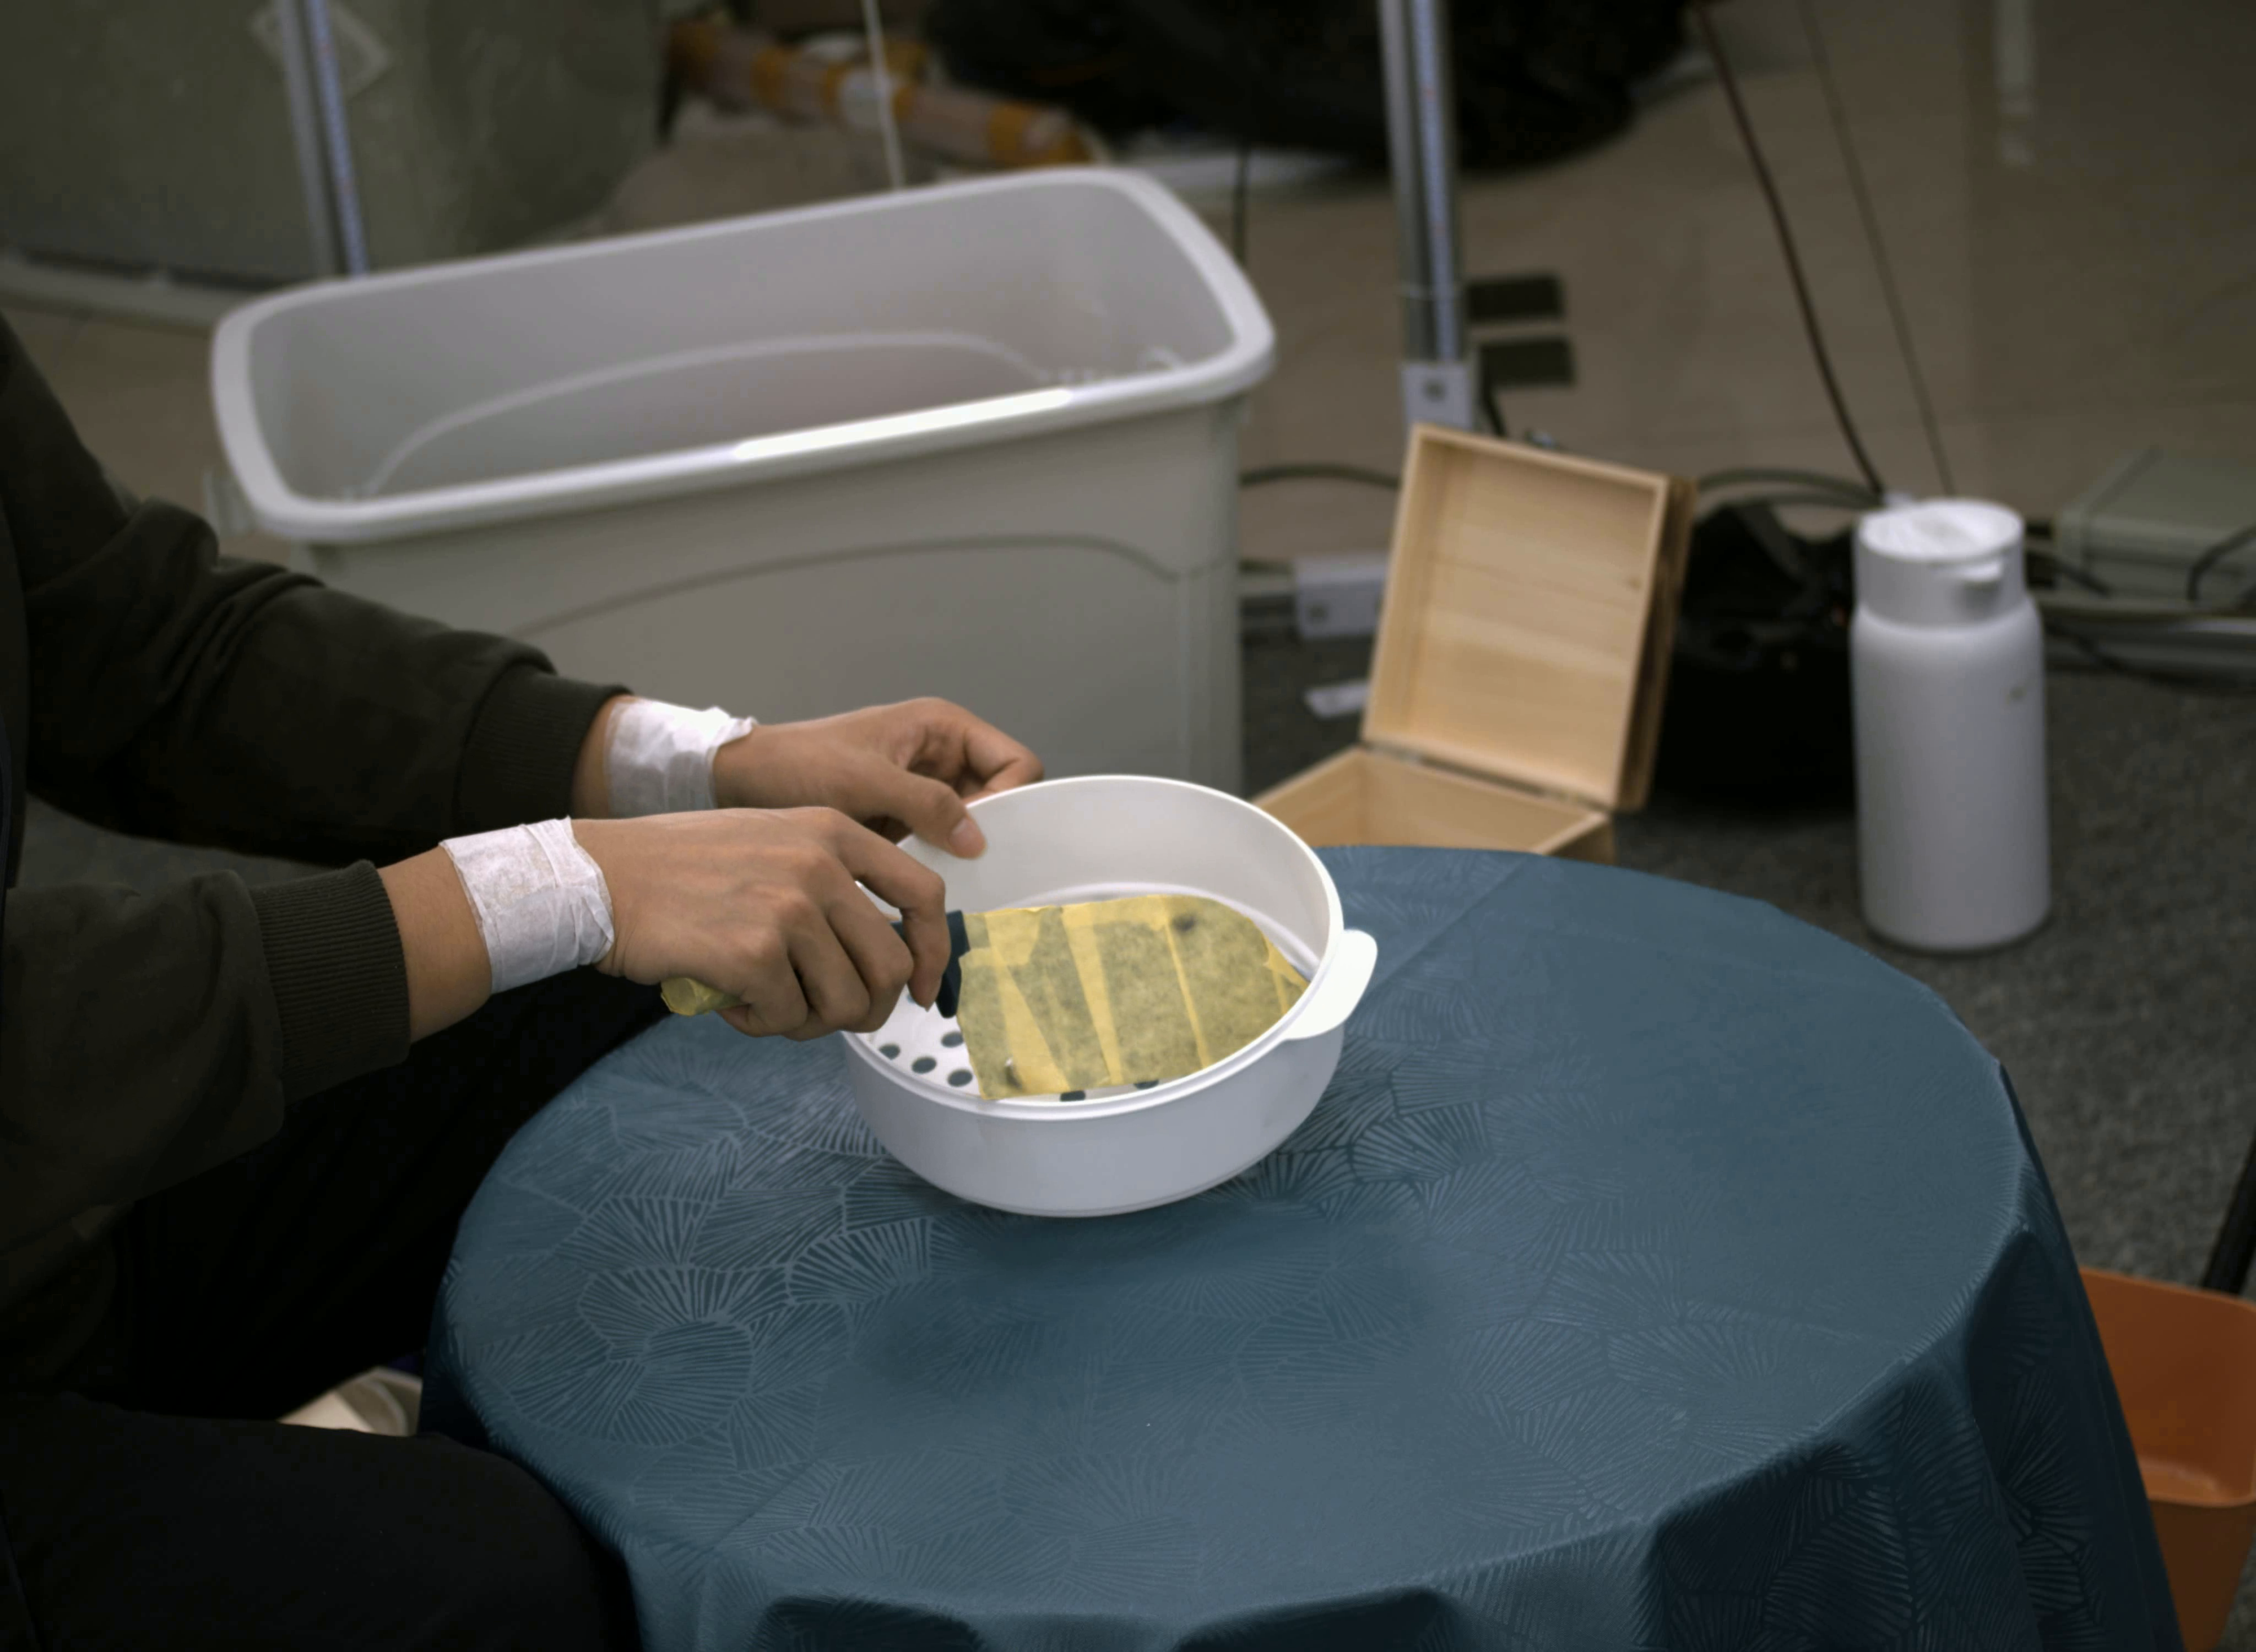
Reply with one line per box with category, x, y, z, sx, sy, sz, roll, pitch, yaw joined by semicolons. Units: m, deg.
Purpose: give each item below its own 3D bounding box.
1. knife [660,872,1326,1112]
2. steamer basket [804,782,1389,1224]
knife;-0.044;0.070;2.123;0.288;0.027;0.080;-13;64;-31
steamer basket;-0.010;0.068;2.186;0.230;0.070;0.198;7;41;20
